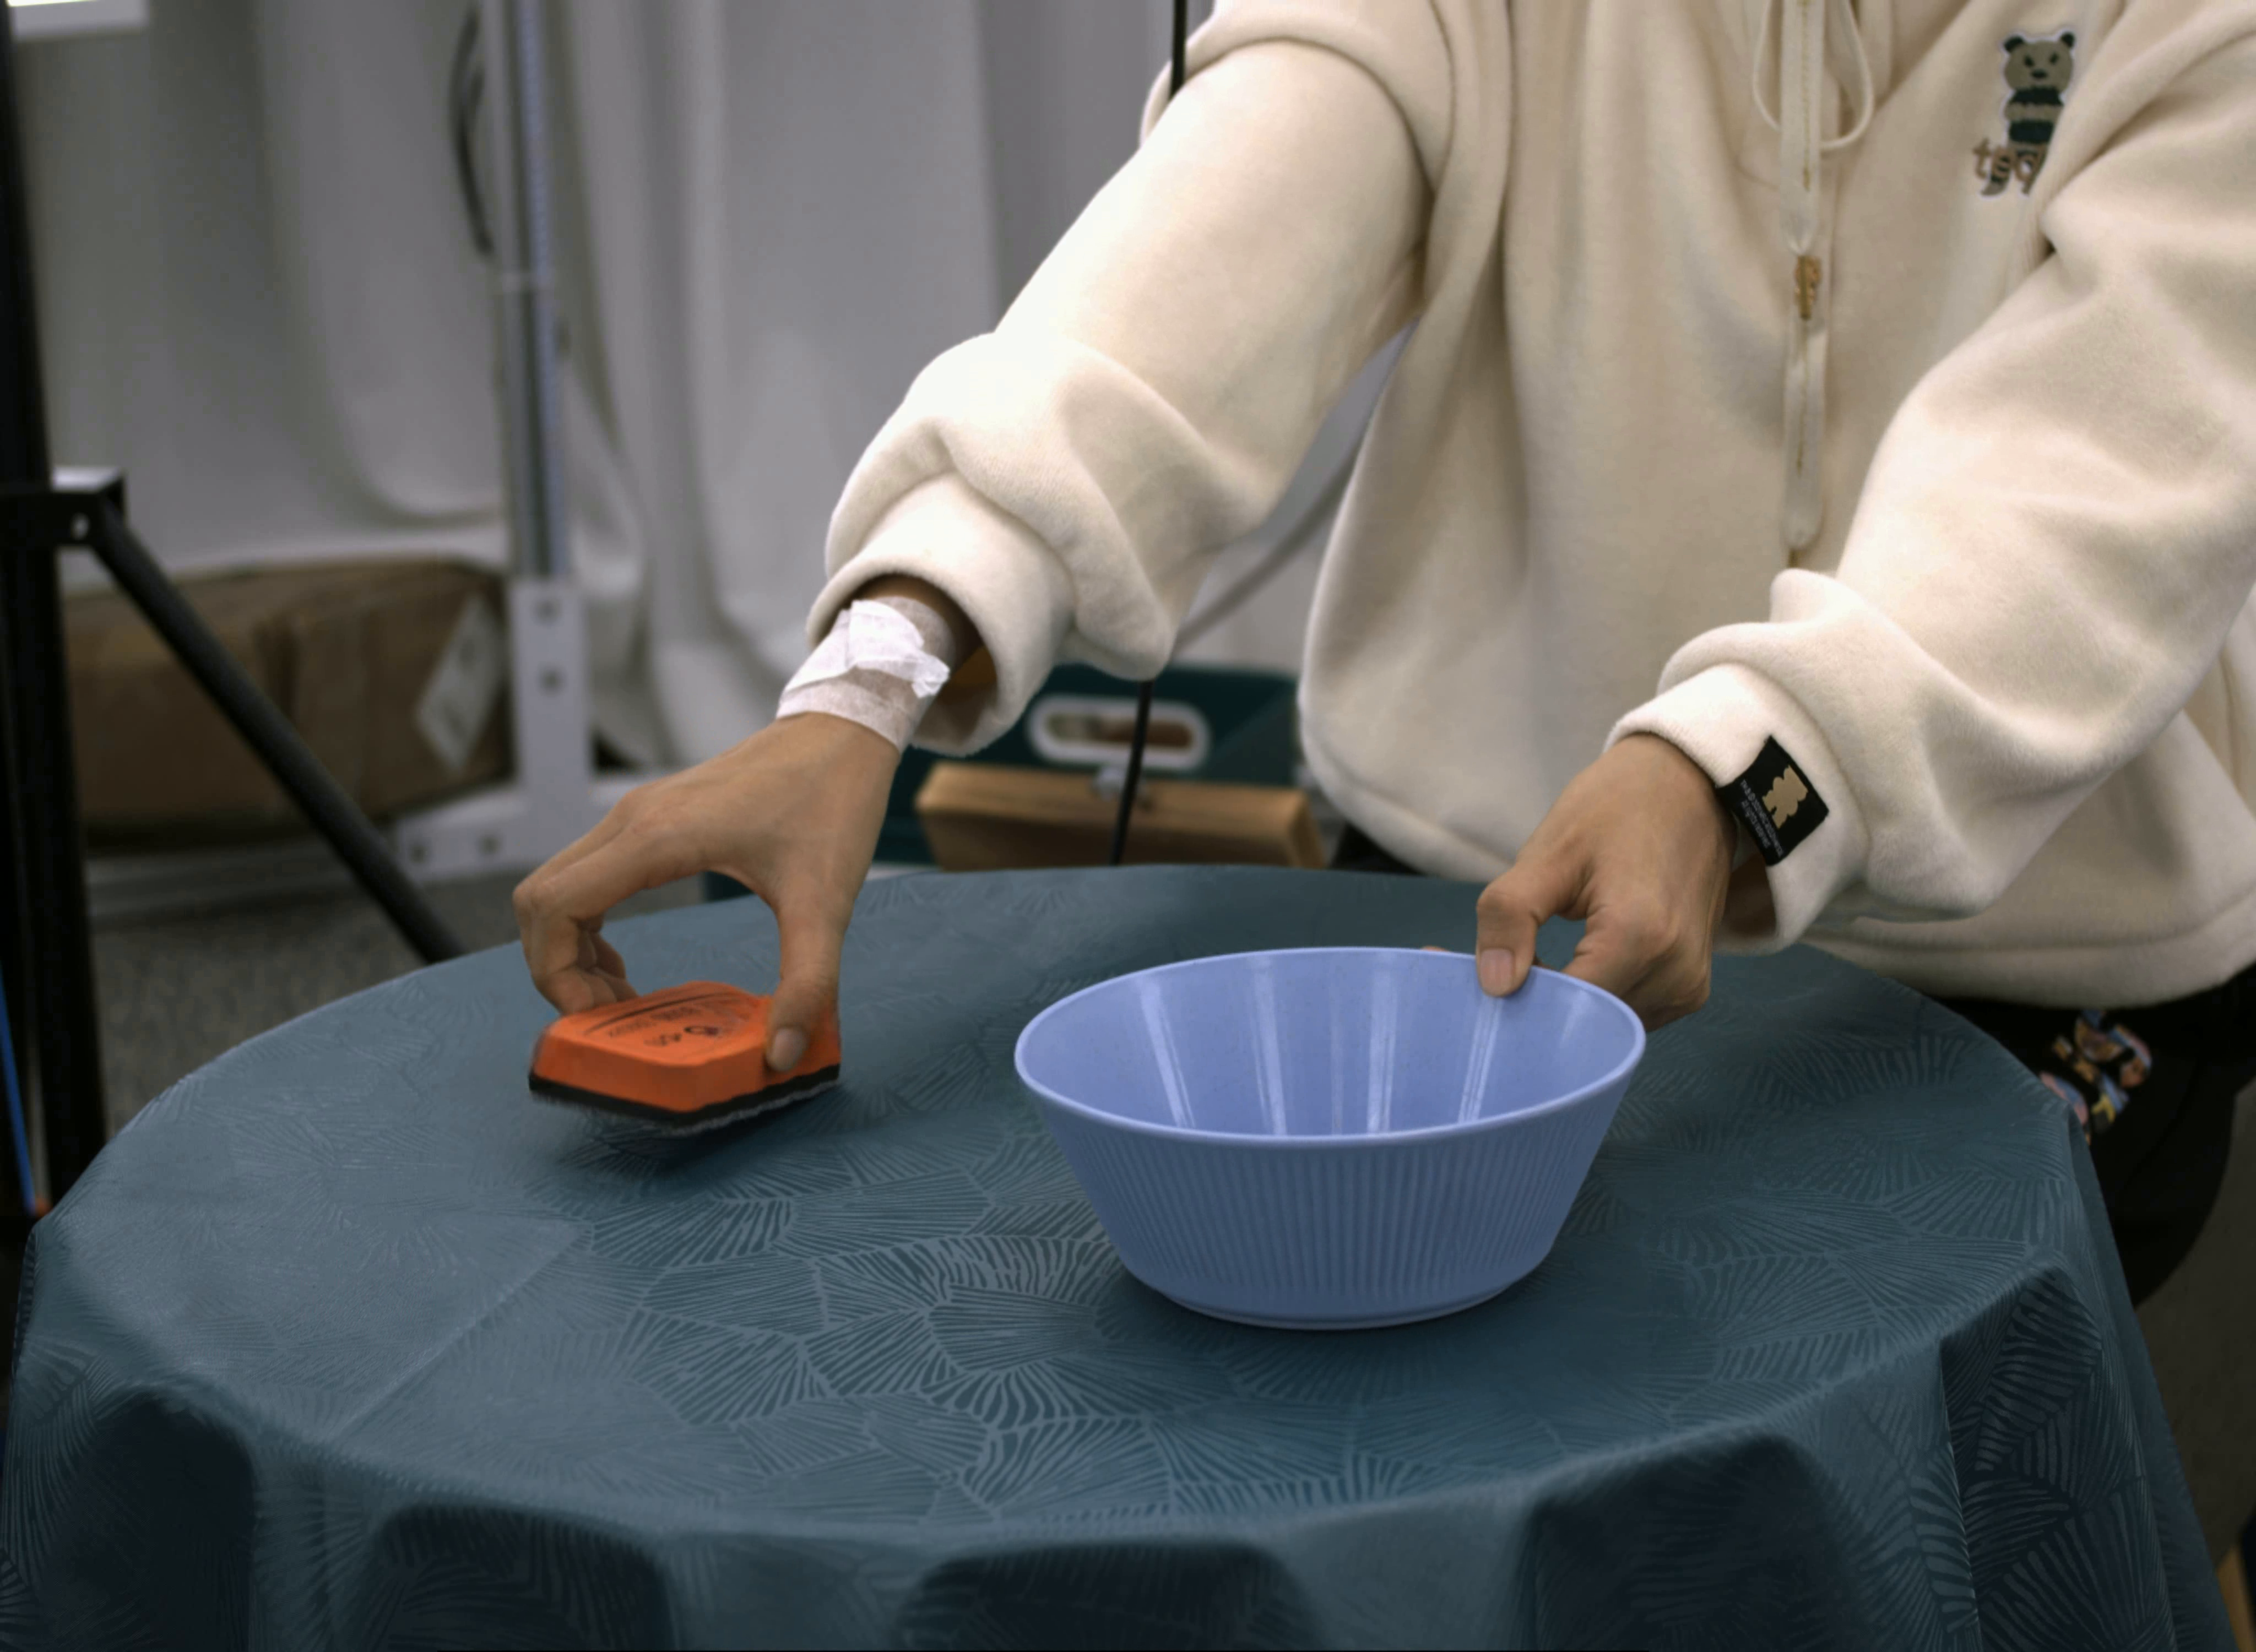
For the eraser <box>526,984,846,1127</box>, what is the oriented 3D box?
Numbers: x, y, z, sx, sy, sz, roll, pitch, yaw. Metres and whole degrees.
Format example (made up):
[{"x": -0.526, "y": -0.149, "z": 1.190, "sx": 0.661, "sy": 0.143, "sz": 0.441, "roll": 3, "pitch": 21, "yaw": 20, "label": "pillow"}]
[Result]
[{"x": -0.134, "y": 0.070, "z": 1.635, "sx": 0.060, "sy": 0.023, "sz": 0.106, "roll": 10, "pitch": 10, "yaw": 26, "label": "eraser"}]

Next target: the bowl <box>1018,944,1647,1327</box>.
[{"x": 0.058, "y": 0.089, "z": 1.482, "sx": 0.175, "sy": 0.070, "sz": 0.177, "roll": -3, "pitch": 15, "yaw": -1, "label": "bowl"}]
